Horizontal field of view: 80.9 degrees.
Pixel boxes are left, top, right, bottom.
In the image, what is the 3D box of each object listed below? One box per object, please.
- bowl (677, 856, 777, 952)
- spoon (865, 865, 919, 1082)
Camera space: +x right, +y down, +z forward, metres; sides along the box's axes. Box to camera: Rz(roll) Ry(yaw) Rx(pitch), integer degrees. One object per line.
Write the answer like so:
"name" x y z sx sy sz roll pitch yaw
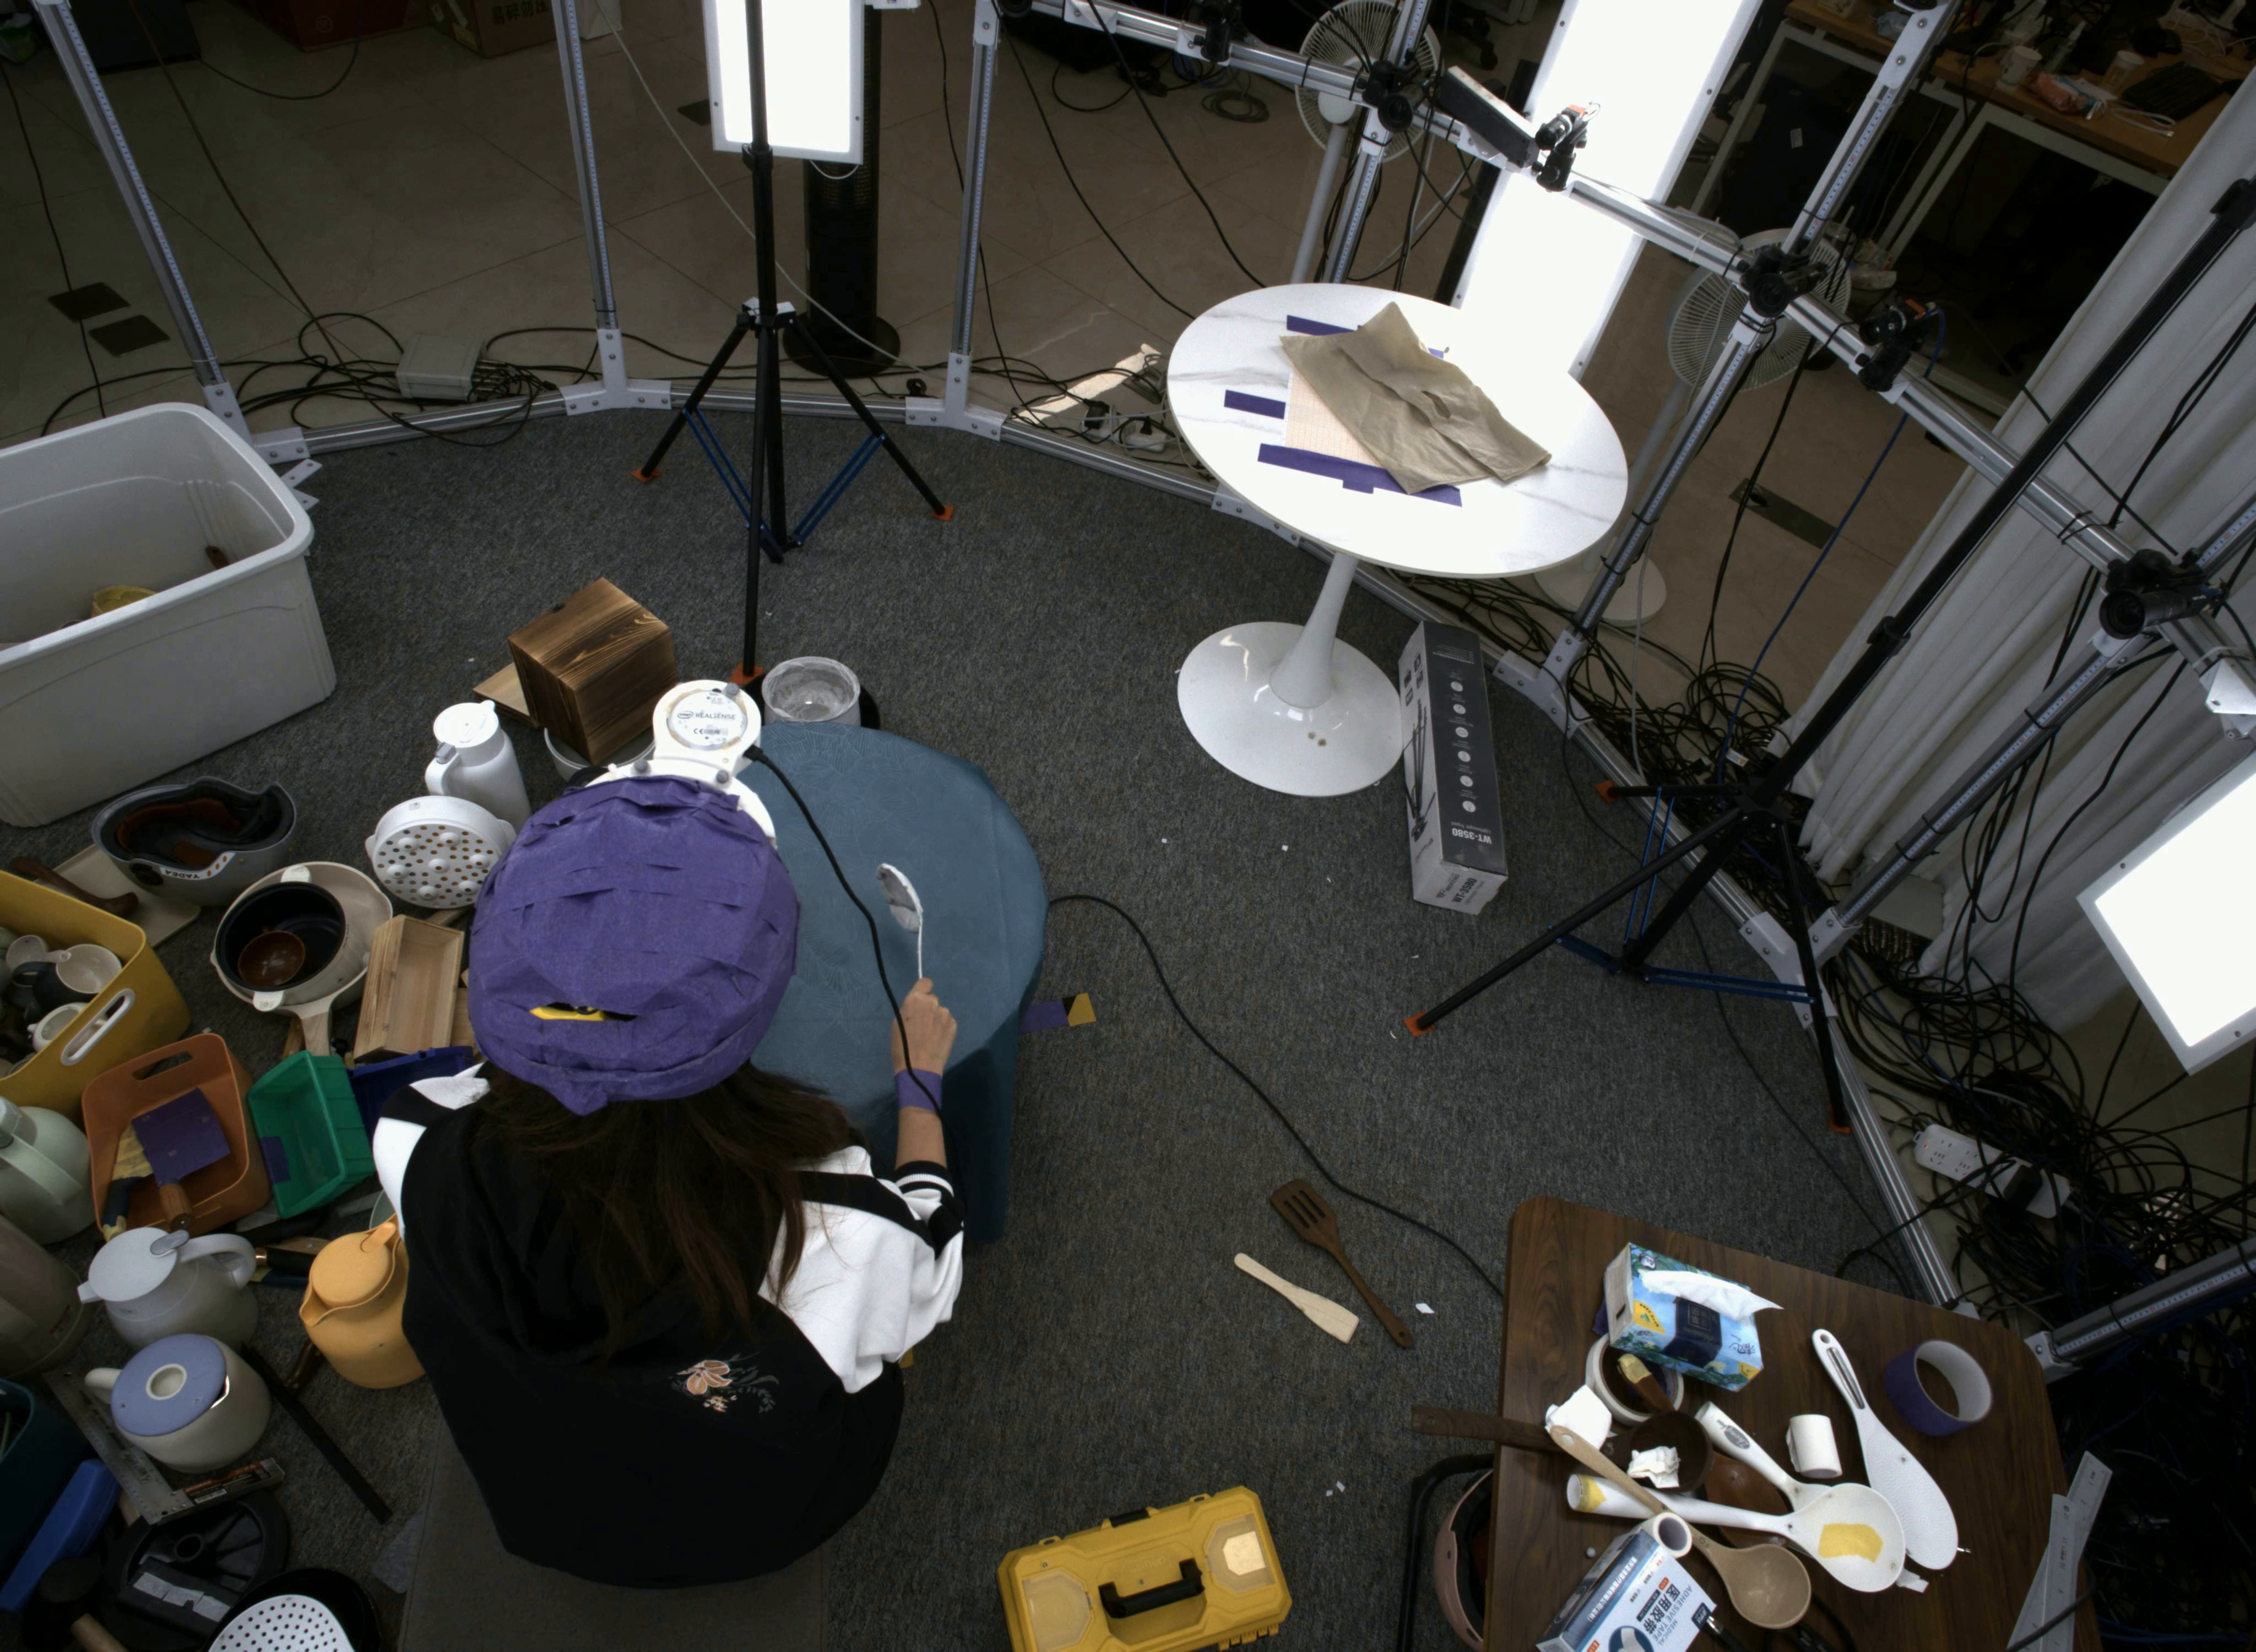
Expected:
"bowl" -0.488 0.101 1.579 0.118 0.071 0.116 7 52 -8
"spoon" -0.282 0.174 1.545 0.059 0.103 0.272 -2 59 -9
